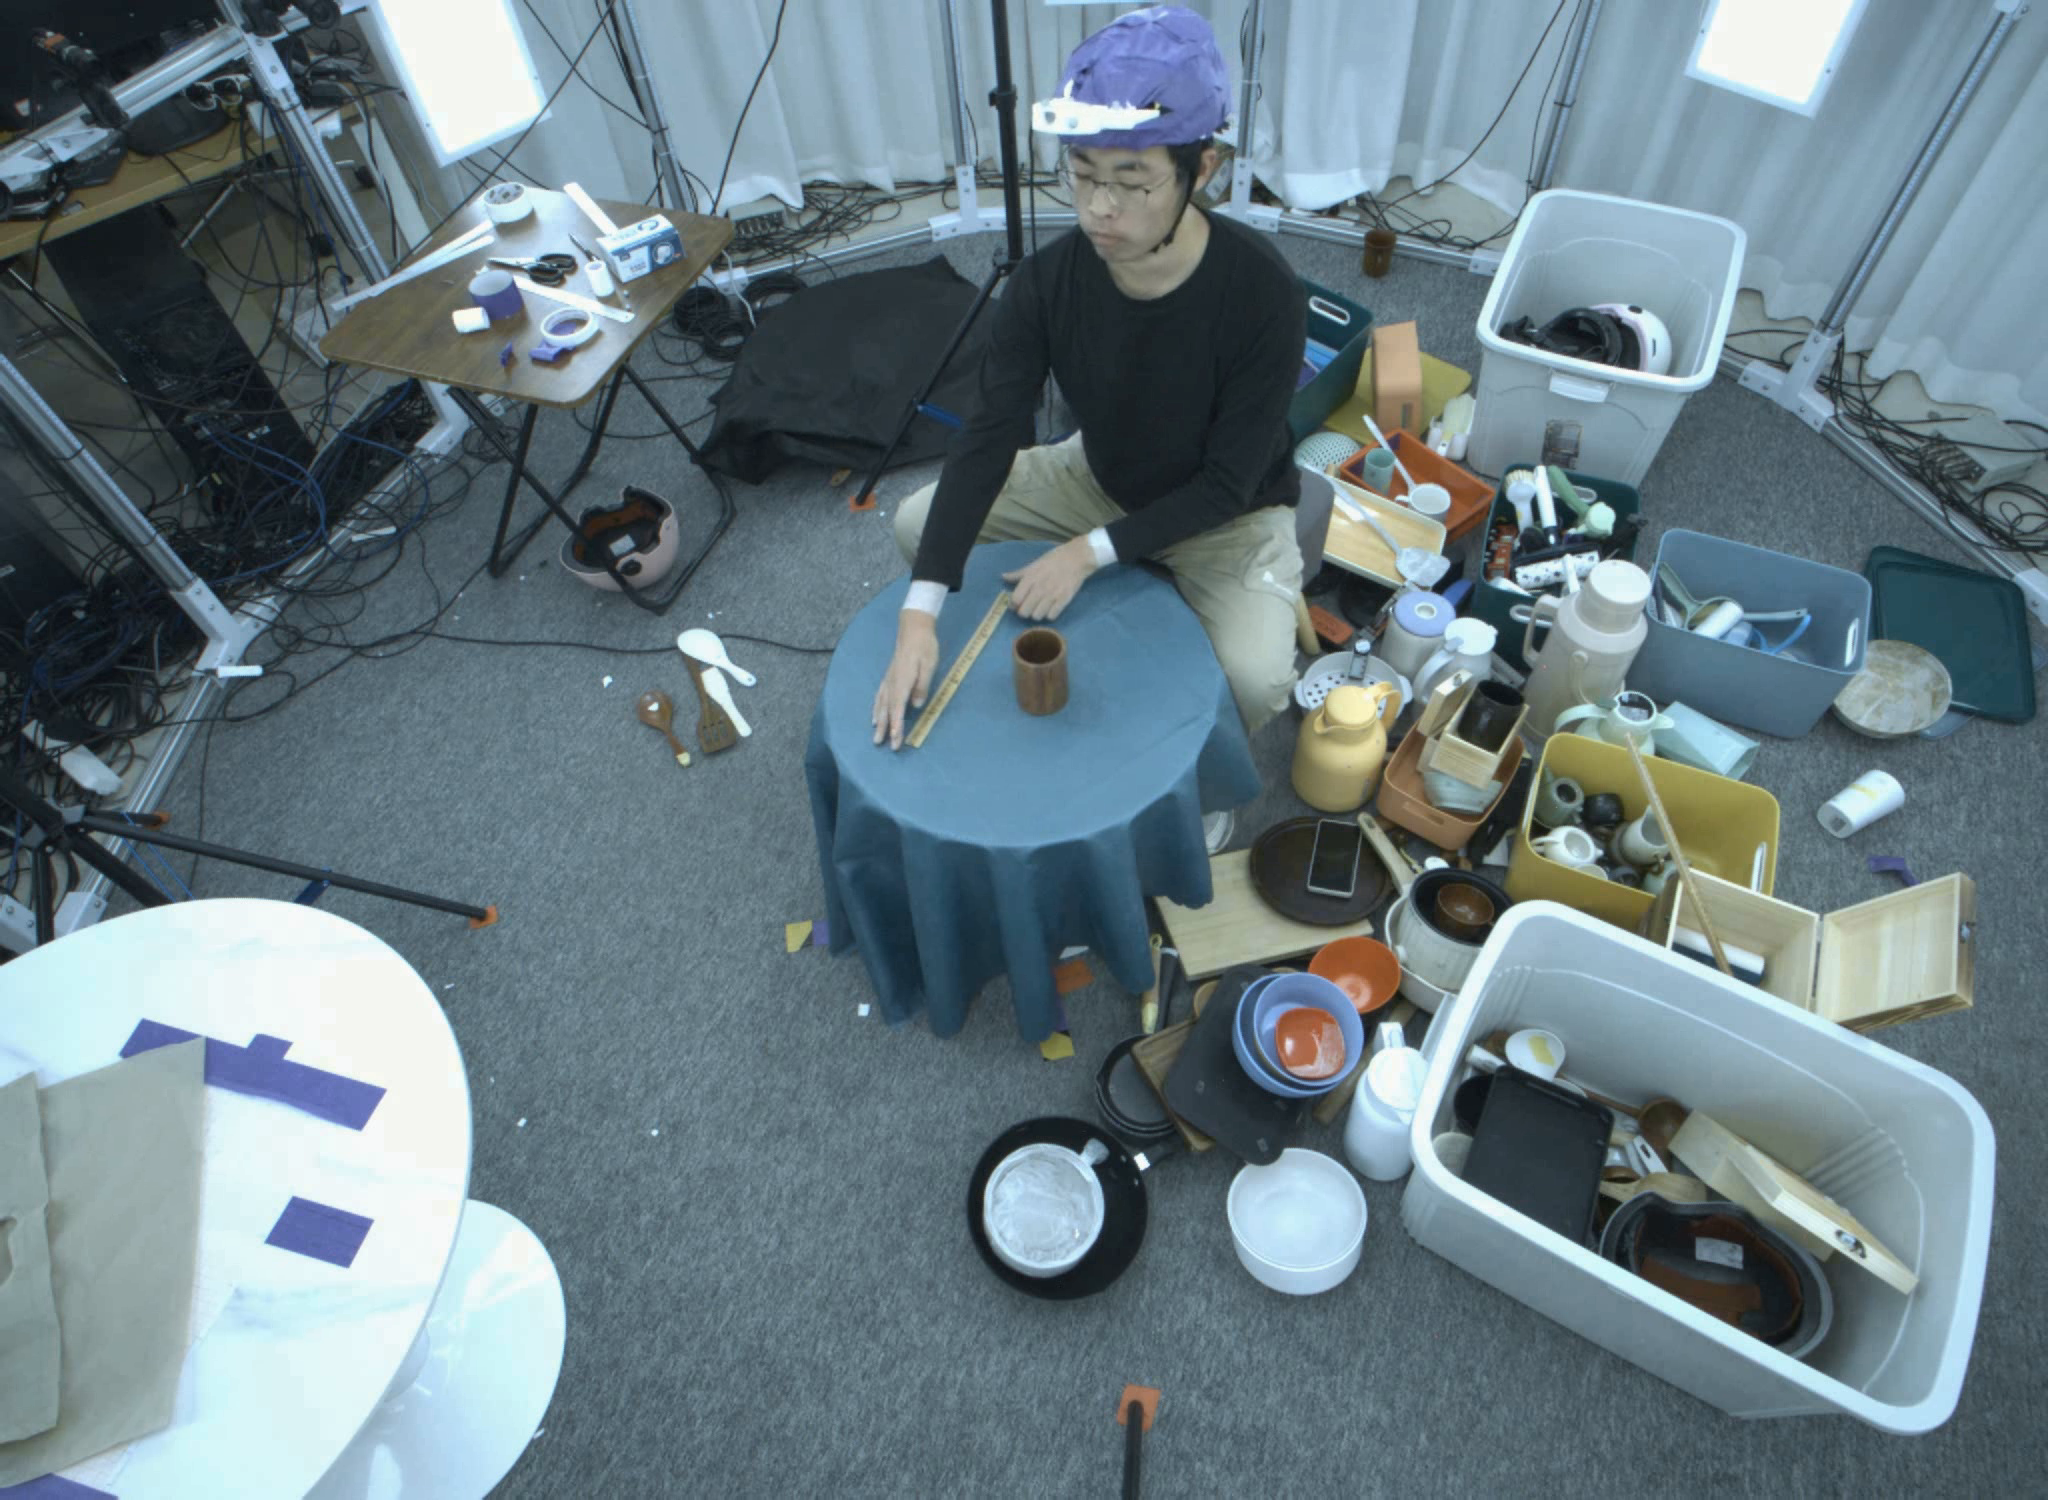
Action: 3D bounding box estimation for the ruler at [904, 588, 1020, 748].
[{"bbox_3d":[-0.093,-0.134,1.879,0.027,0.022,0.332,24,59,13],"label":"ruler"}]

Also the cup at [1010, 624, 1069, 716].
[{"bbox_3d":[0.023,-0.117,1.798,0.087,0.119,0.087,-1,55,2],"label":"cup"}]
